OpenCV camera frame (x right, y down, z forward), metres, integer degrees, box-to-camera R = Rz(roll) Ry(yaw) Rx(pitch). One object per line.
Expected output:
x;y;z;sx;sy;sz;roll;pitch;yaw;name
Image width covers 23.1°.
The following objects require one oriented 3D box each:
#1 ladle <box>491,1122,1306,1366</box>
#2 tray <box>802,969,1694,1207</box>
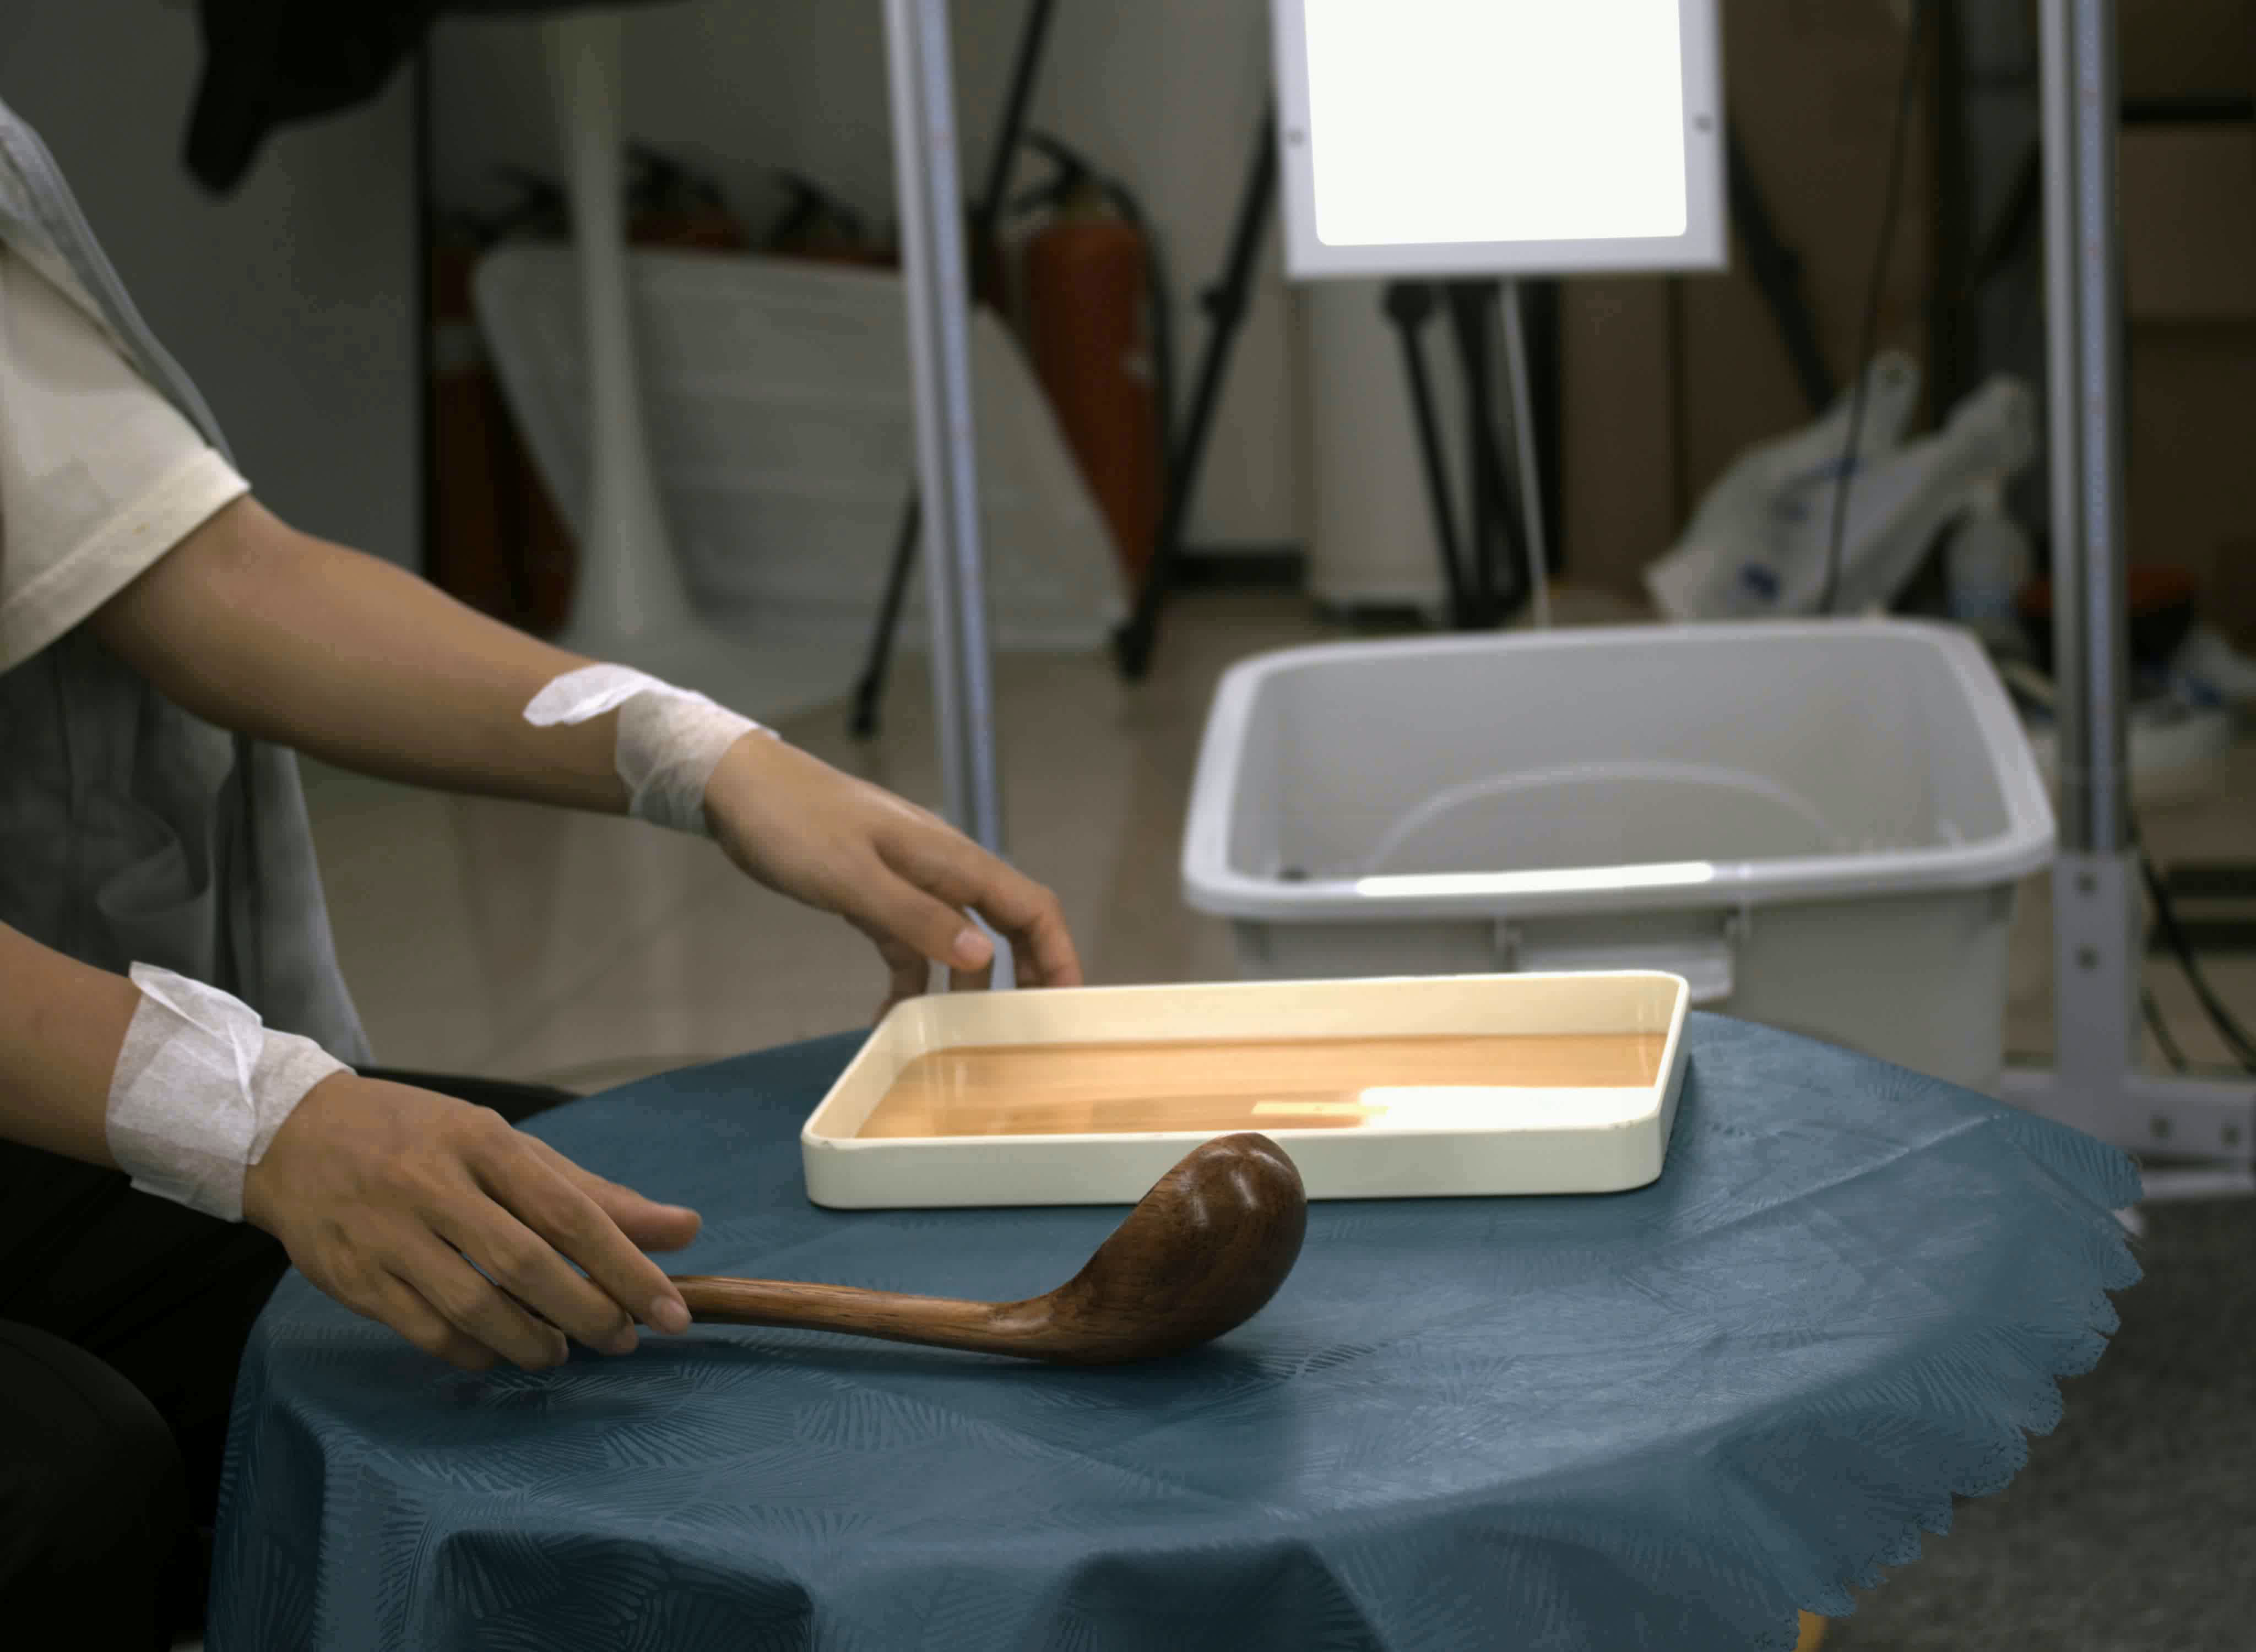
-0.076;0.131;1.760;0.278;0.076;0.081;0;-26;25;ladle
0.047;0.093;1.960;0.302;0.027;0.189;-2;14;13;tray
